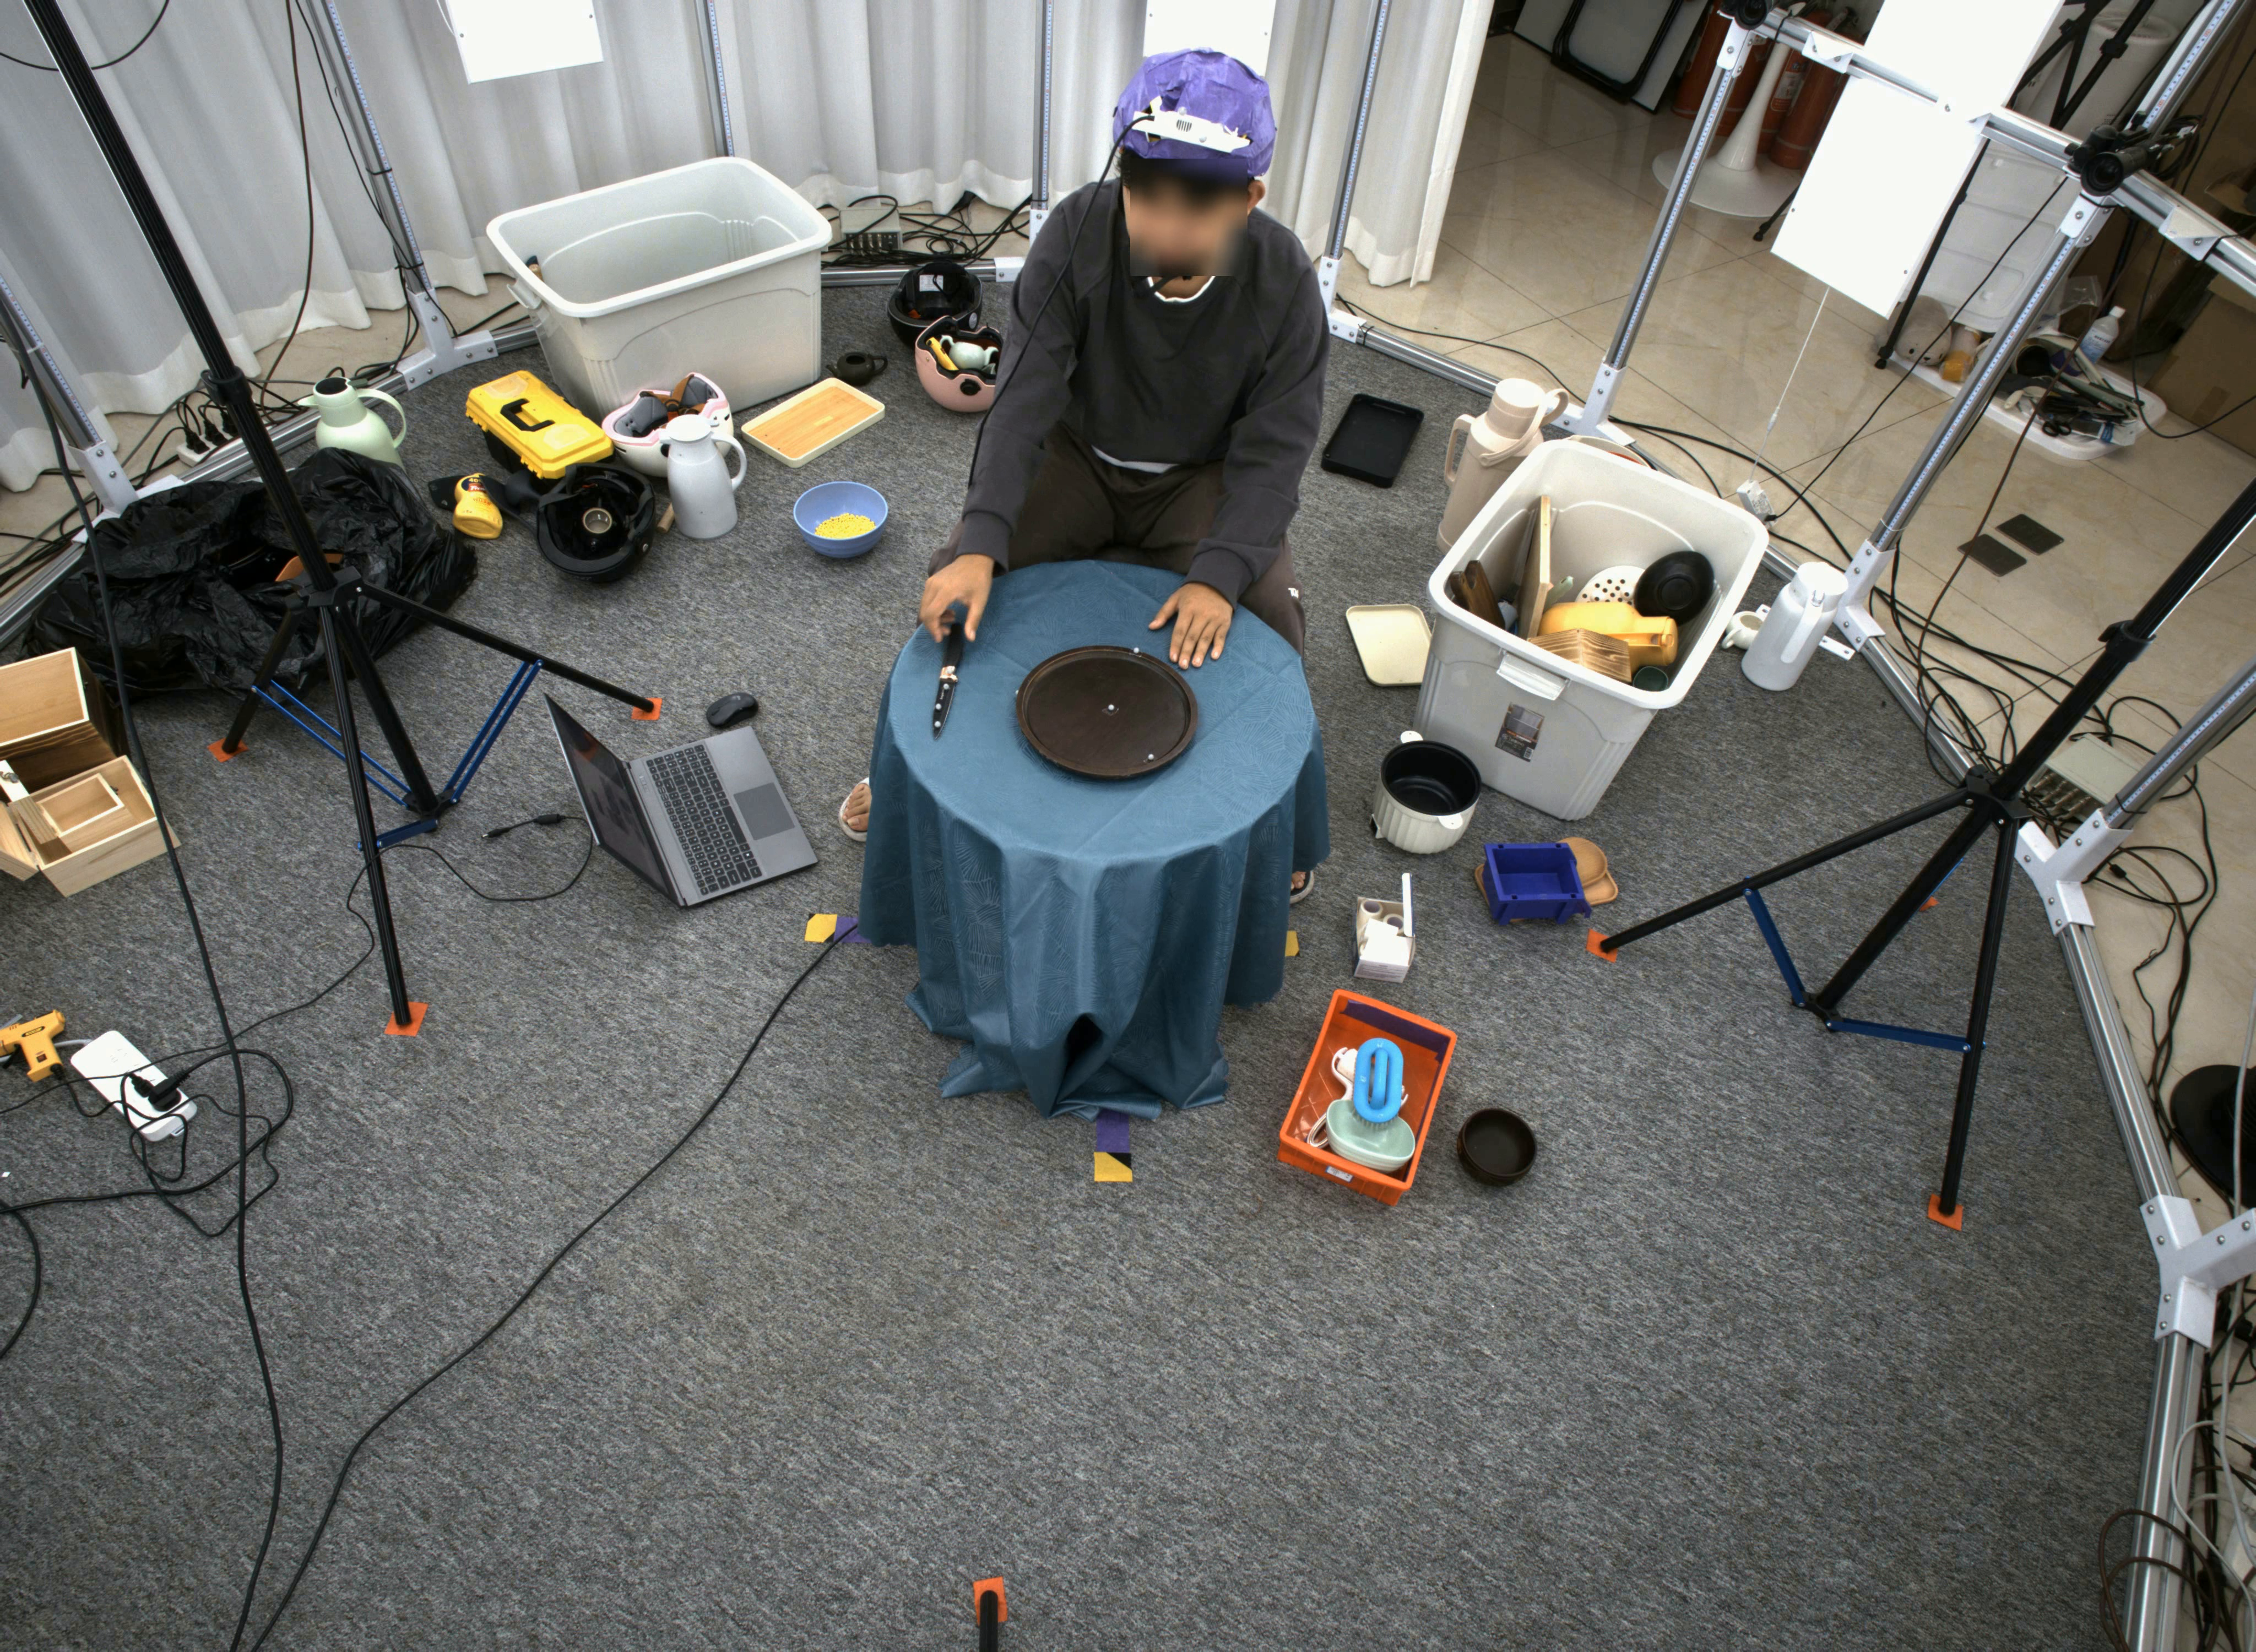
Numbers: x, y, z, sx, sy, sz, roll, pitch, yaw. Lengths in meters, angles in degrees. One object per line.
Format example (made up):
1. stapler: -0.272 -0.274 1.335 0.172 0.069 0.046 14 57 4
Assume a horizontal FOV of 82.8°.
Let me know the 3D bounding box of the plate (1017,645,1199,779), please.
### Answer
1. plate: -0.028 -0.160 1.787 0.254 0.028 0.261 2 48 -2

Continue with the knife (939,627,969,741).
1. knife: -0.249 -0.203 1.815 0.026 0.017 0.231 7 49 -3
